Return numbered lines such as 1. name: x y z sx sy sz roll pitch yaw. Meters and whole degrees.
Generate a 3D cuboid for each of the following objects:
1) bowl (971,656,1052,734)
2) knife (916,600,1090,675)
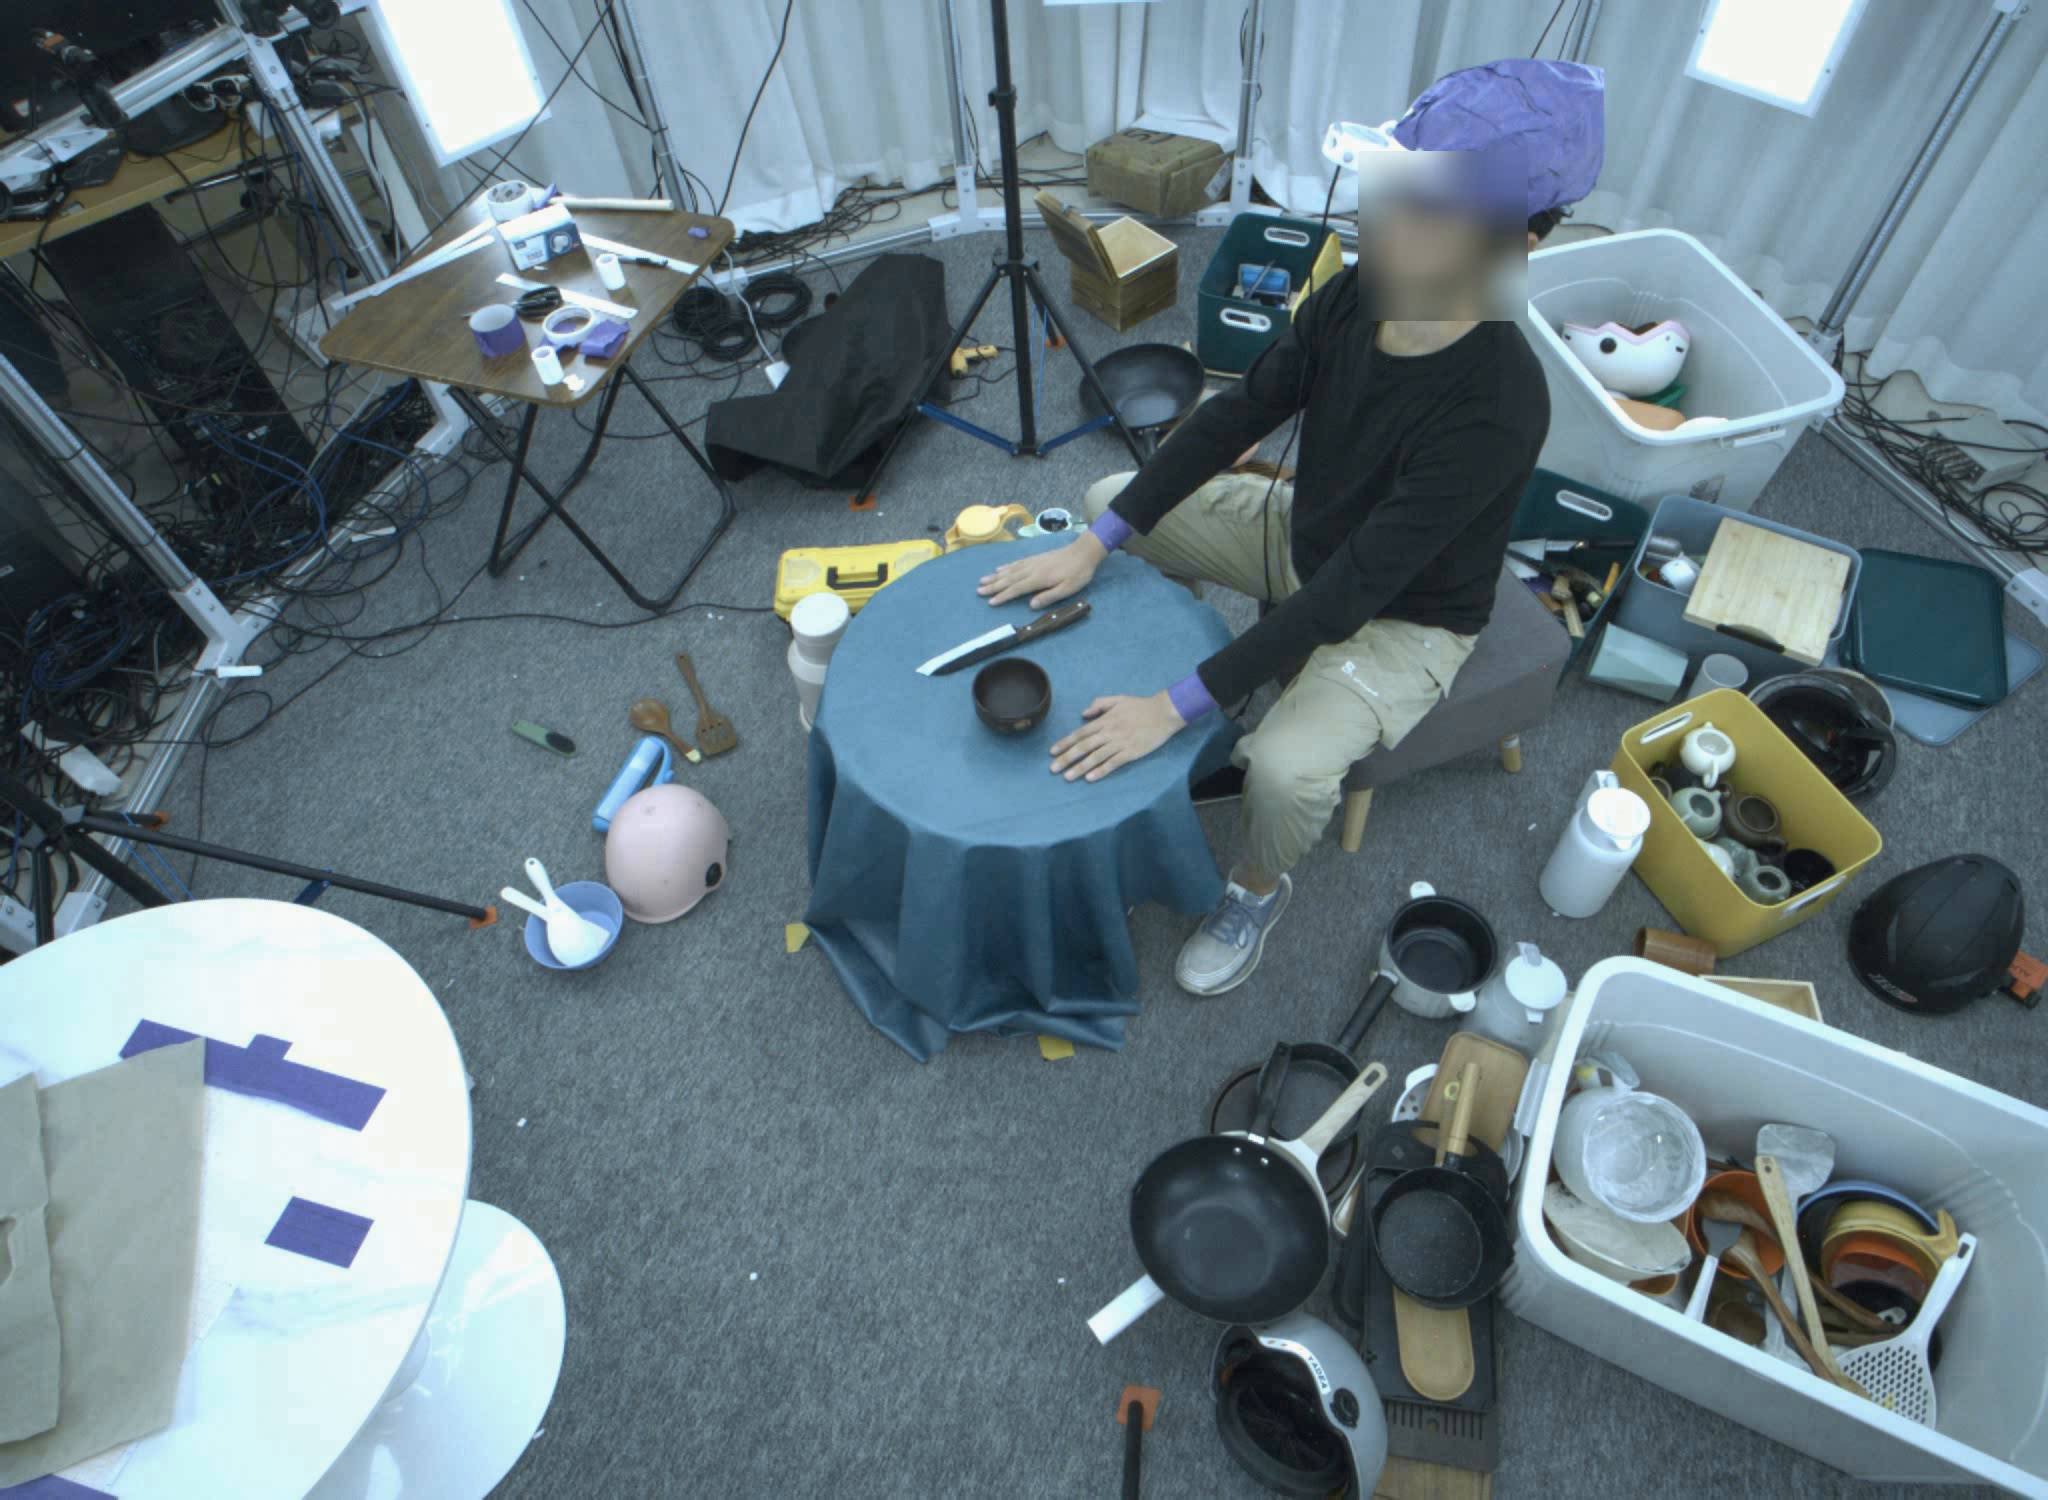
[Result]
1. bowl: -0.018 -0.072 1.792 0.118 0.070 0.117 0 53 1
2. knife: -0.032 -0.172 1.898 0.291 0.020 0.049 -22 51 -11
